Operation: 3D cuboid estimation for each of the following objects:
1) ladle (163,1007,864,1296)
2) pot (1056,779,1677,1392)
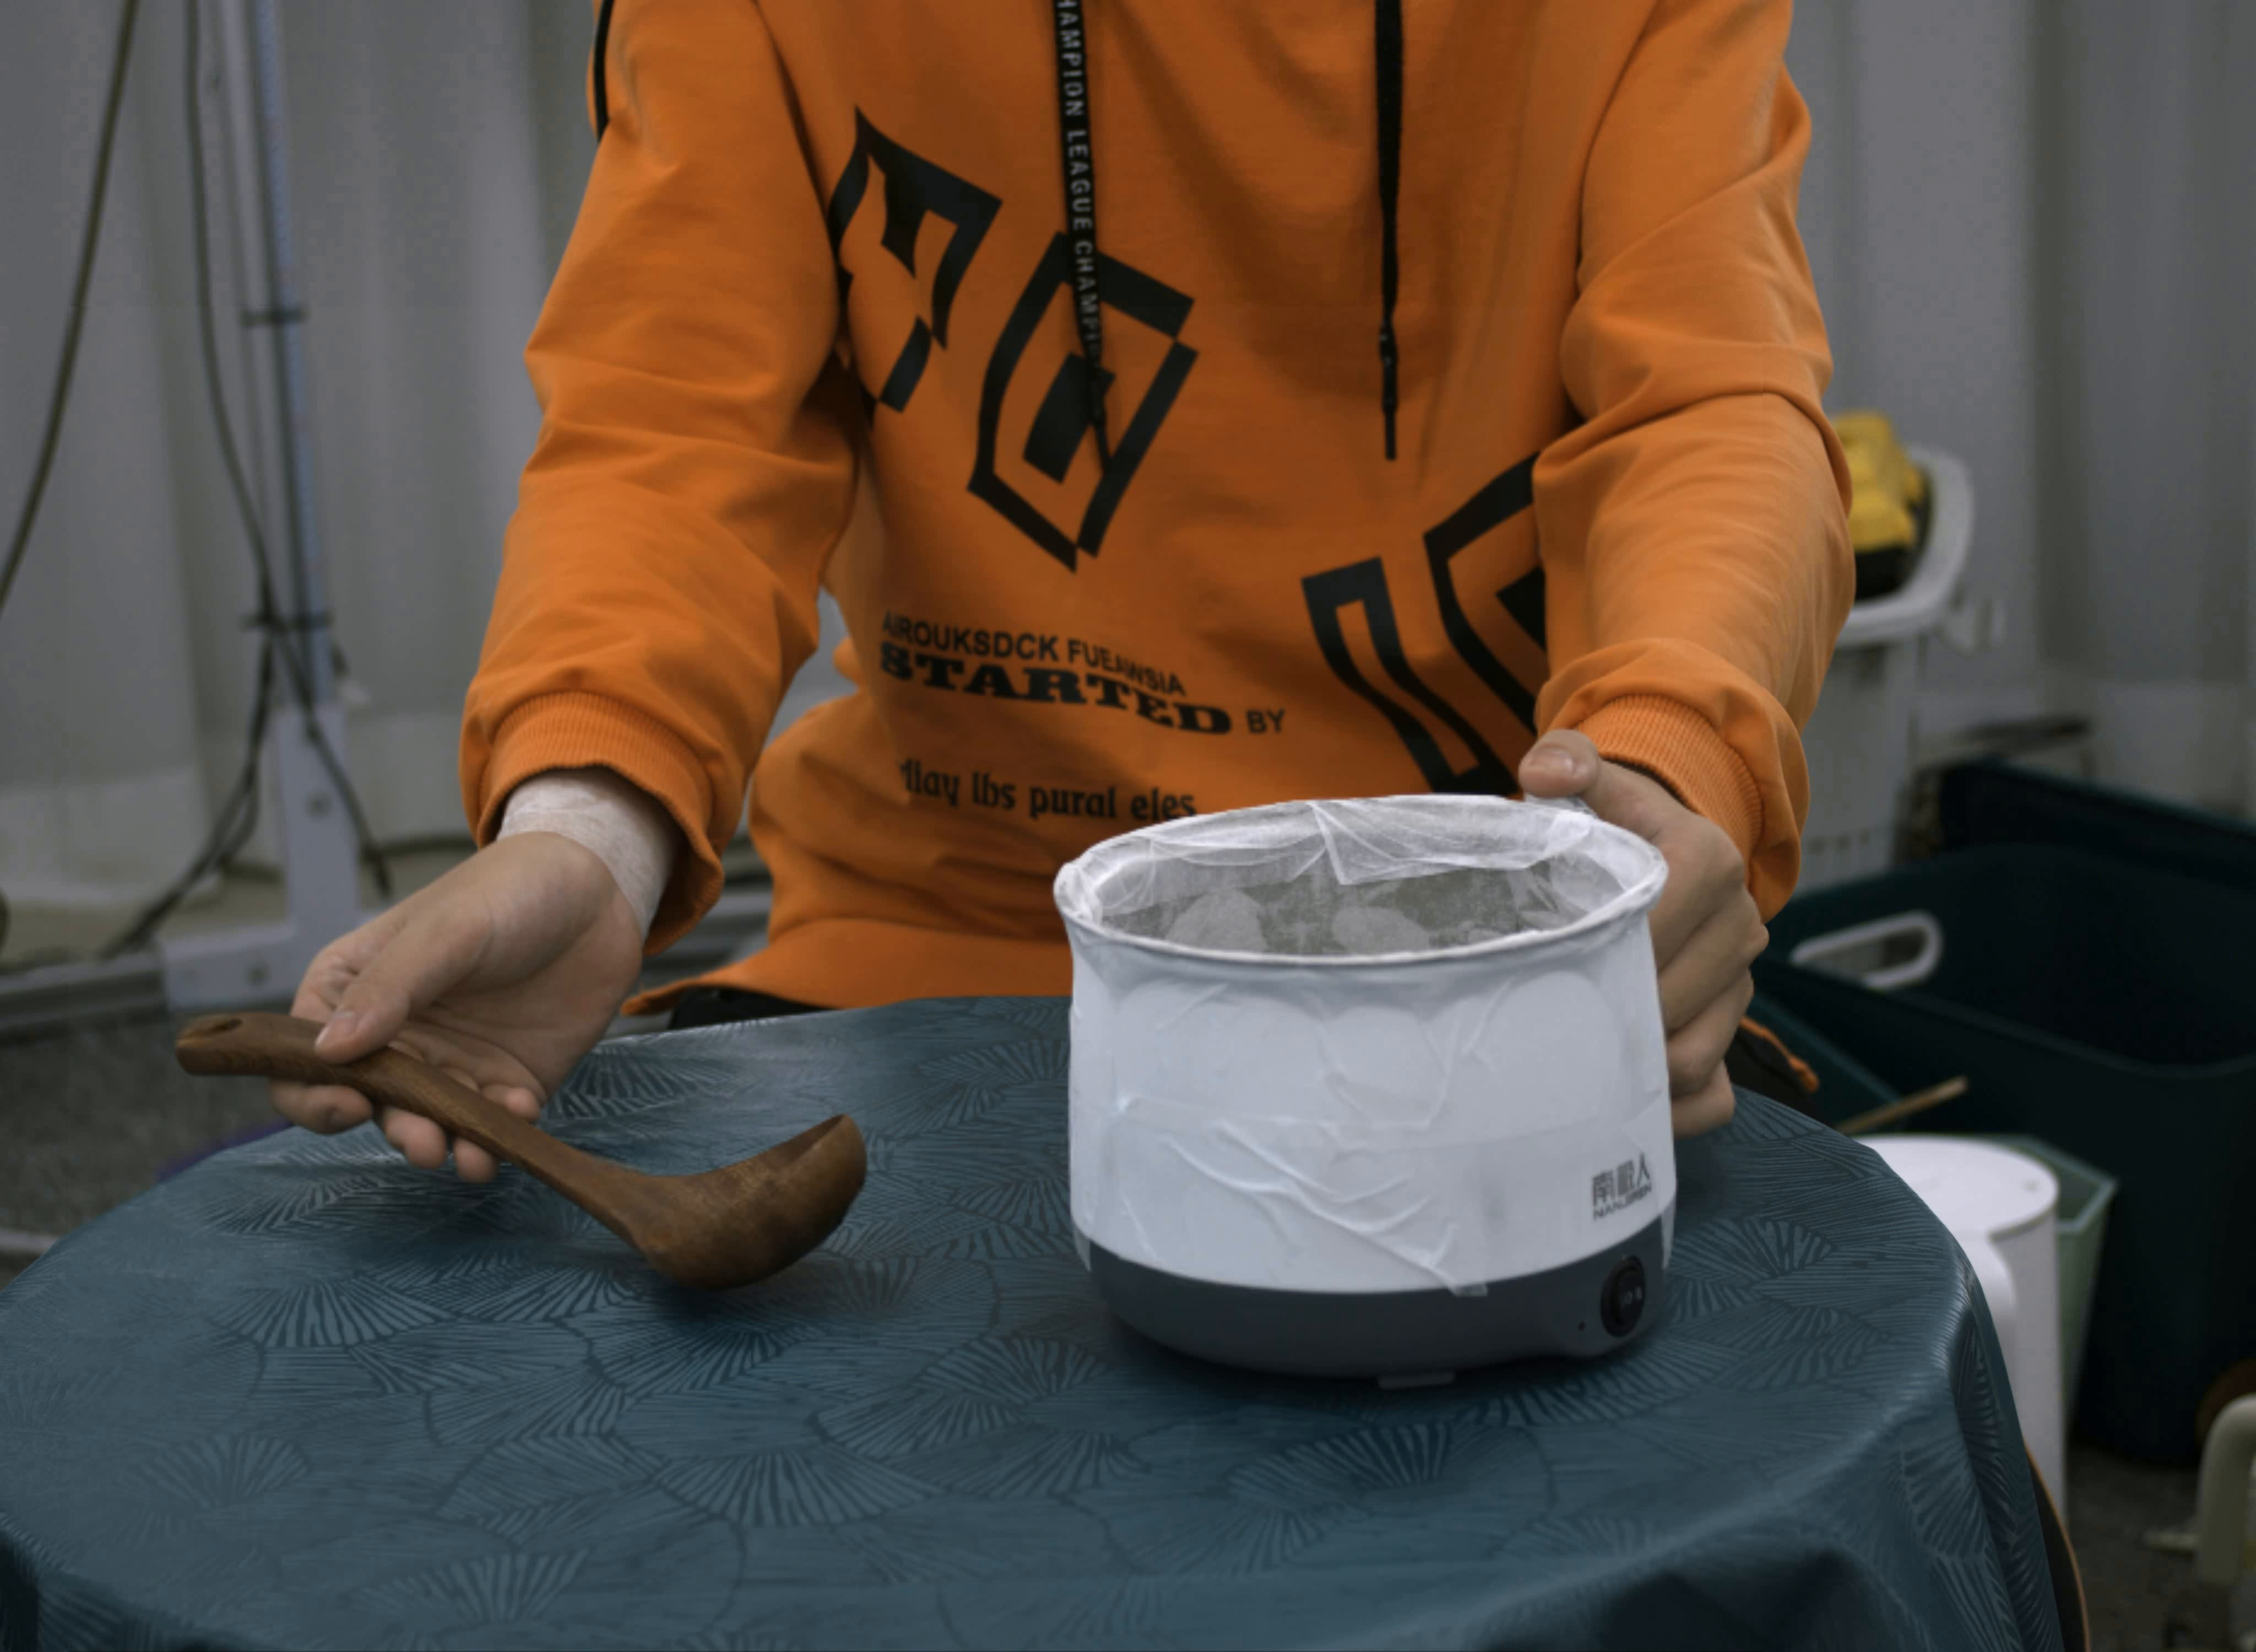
[{"bbox_3d":[-0.195,0.084,1.685,0.261,0.064,0.077,21,30,27],"label":"ladle"},{"bbox_3d":[0.086,0.068,1.606,0.179,0.136,0.233,8,18,35],"label":"pot"}]
